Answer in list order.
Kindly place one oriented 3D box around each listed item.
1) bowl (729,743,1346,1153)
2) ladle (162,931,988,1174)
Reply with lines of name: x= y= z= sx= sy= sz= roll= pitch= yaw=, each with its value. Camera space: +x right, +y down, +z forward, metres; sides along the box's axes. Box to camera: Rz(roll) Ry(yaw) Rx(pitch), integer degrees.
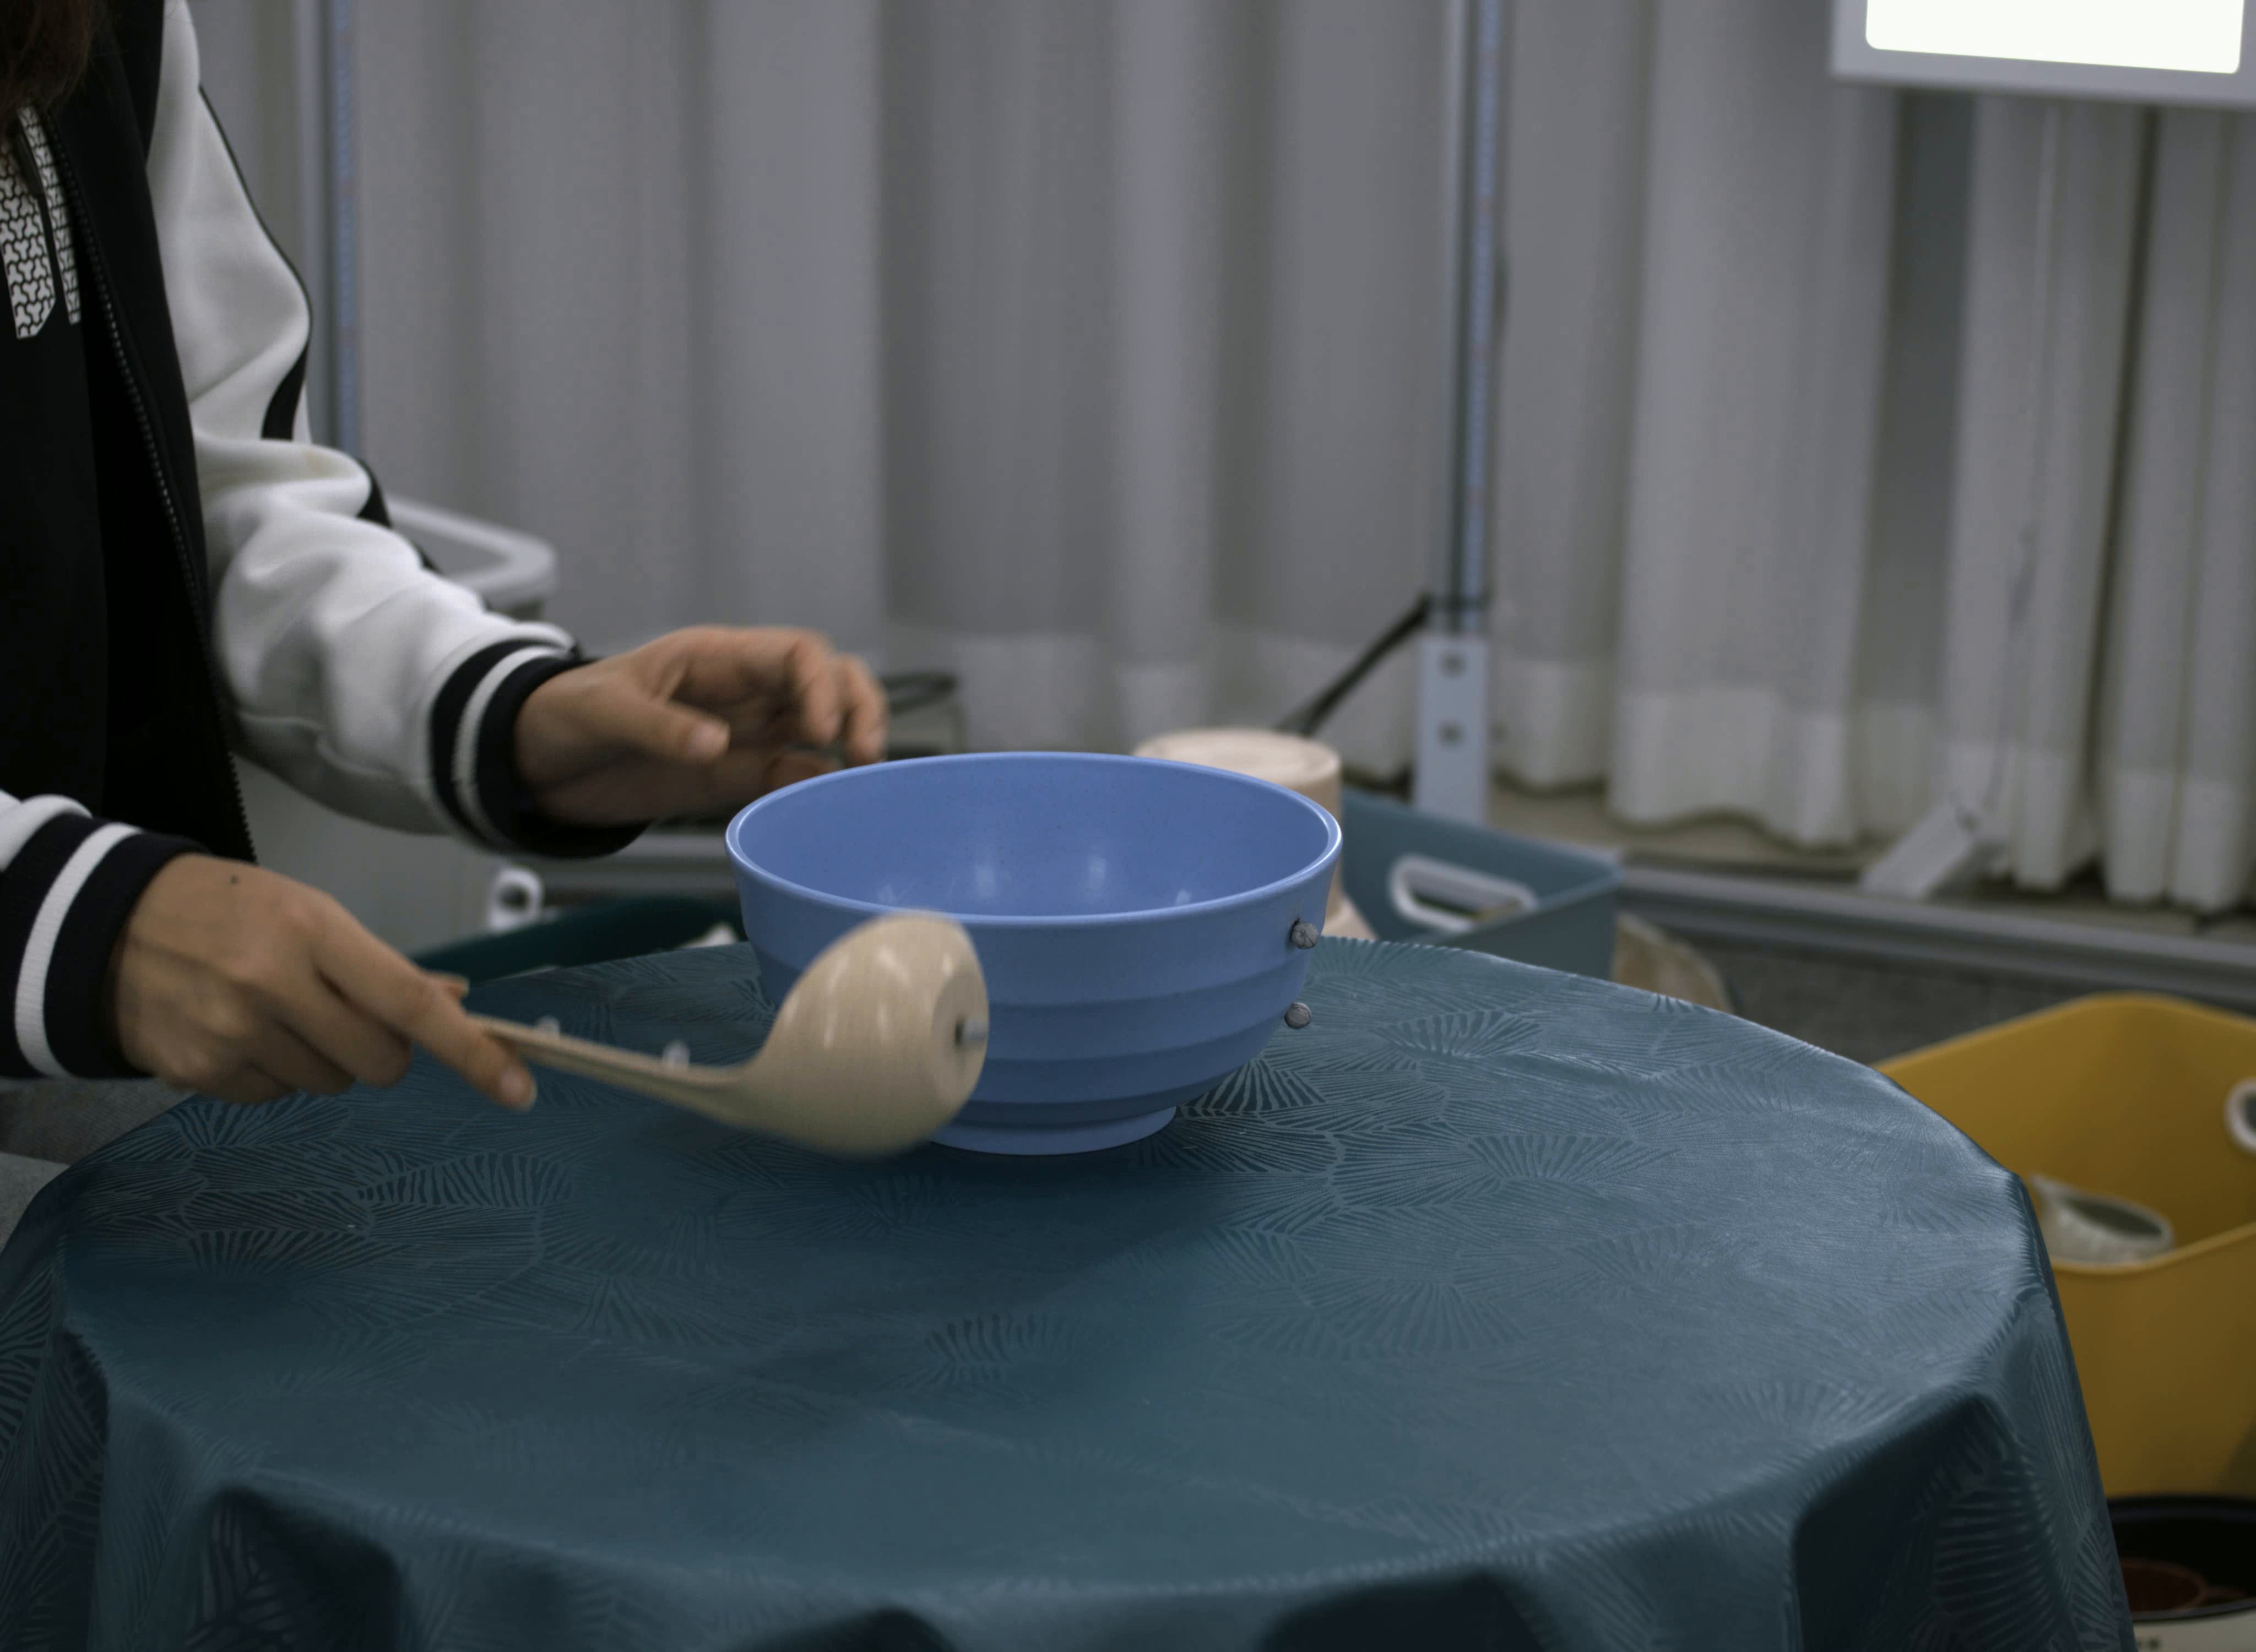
bowl: x=-0.031 y=0.045 z=1.682 sx=0.196 sy=0.096 sz=0.195 roll=3 pitch=16 yaw=0
ladle: x=-0.160 y=0.046 z=1.529 sx=0.251 sy=0.073 sz=0.072 roll=11 pitch=54 yaw=24
